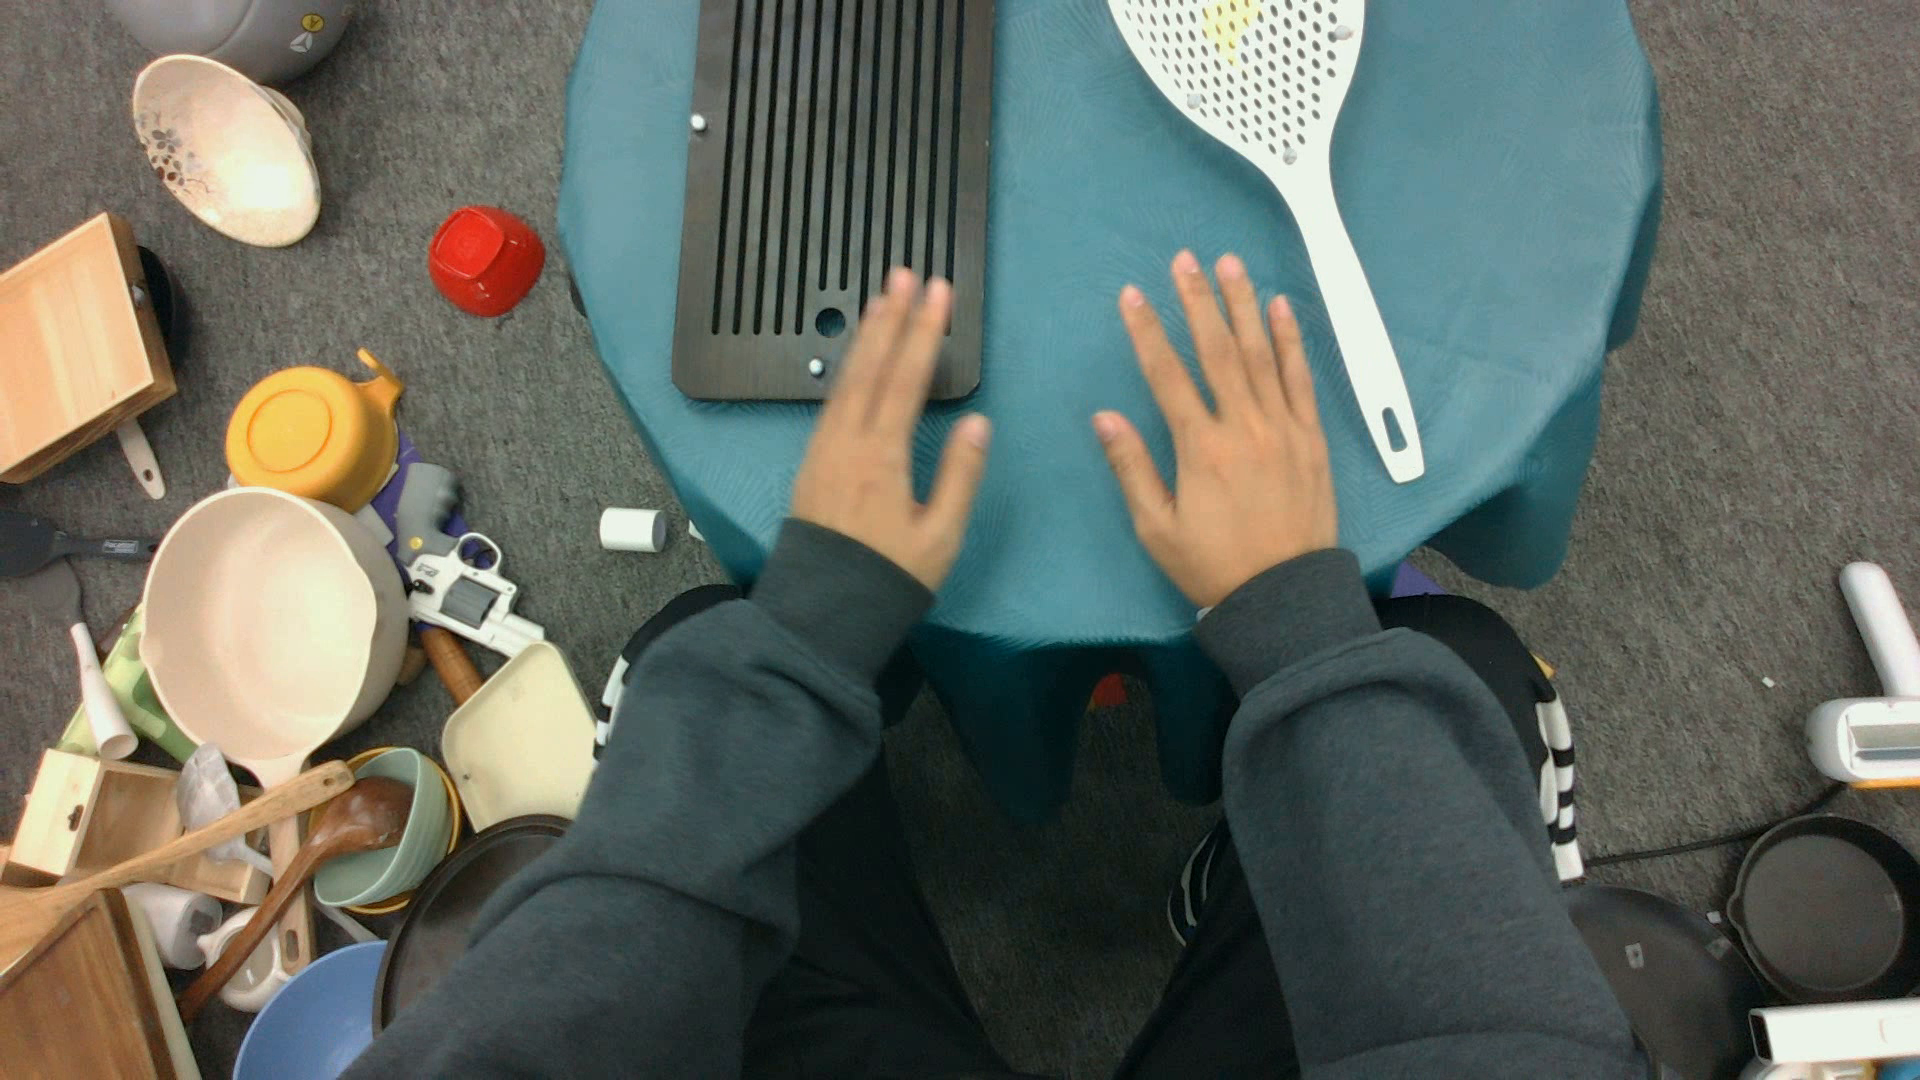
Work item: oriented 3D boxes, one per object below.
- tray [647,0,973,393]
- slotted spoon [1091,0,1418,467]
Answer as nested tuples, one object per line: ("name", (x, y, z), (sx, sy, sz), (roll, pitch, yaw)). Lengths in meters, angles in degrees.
("tray", (-0.079, -0.227, 0.770), (0.170, 0.018, 0.306), (1, 77, 6))
("slotted spoon", (0.169, -0.202, 0.727), (0.137, 0.050, 0.348), (-17, 76, -1))
